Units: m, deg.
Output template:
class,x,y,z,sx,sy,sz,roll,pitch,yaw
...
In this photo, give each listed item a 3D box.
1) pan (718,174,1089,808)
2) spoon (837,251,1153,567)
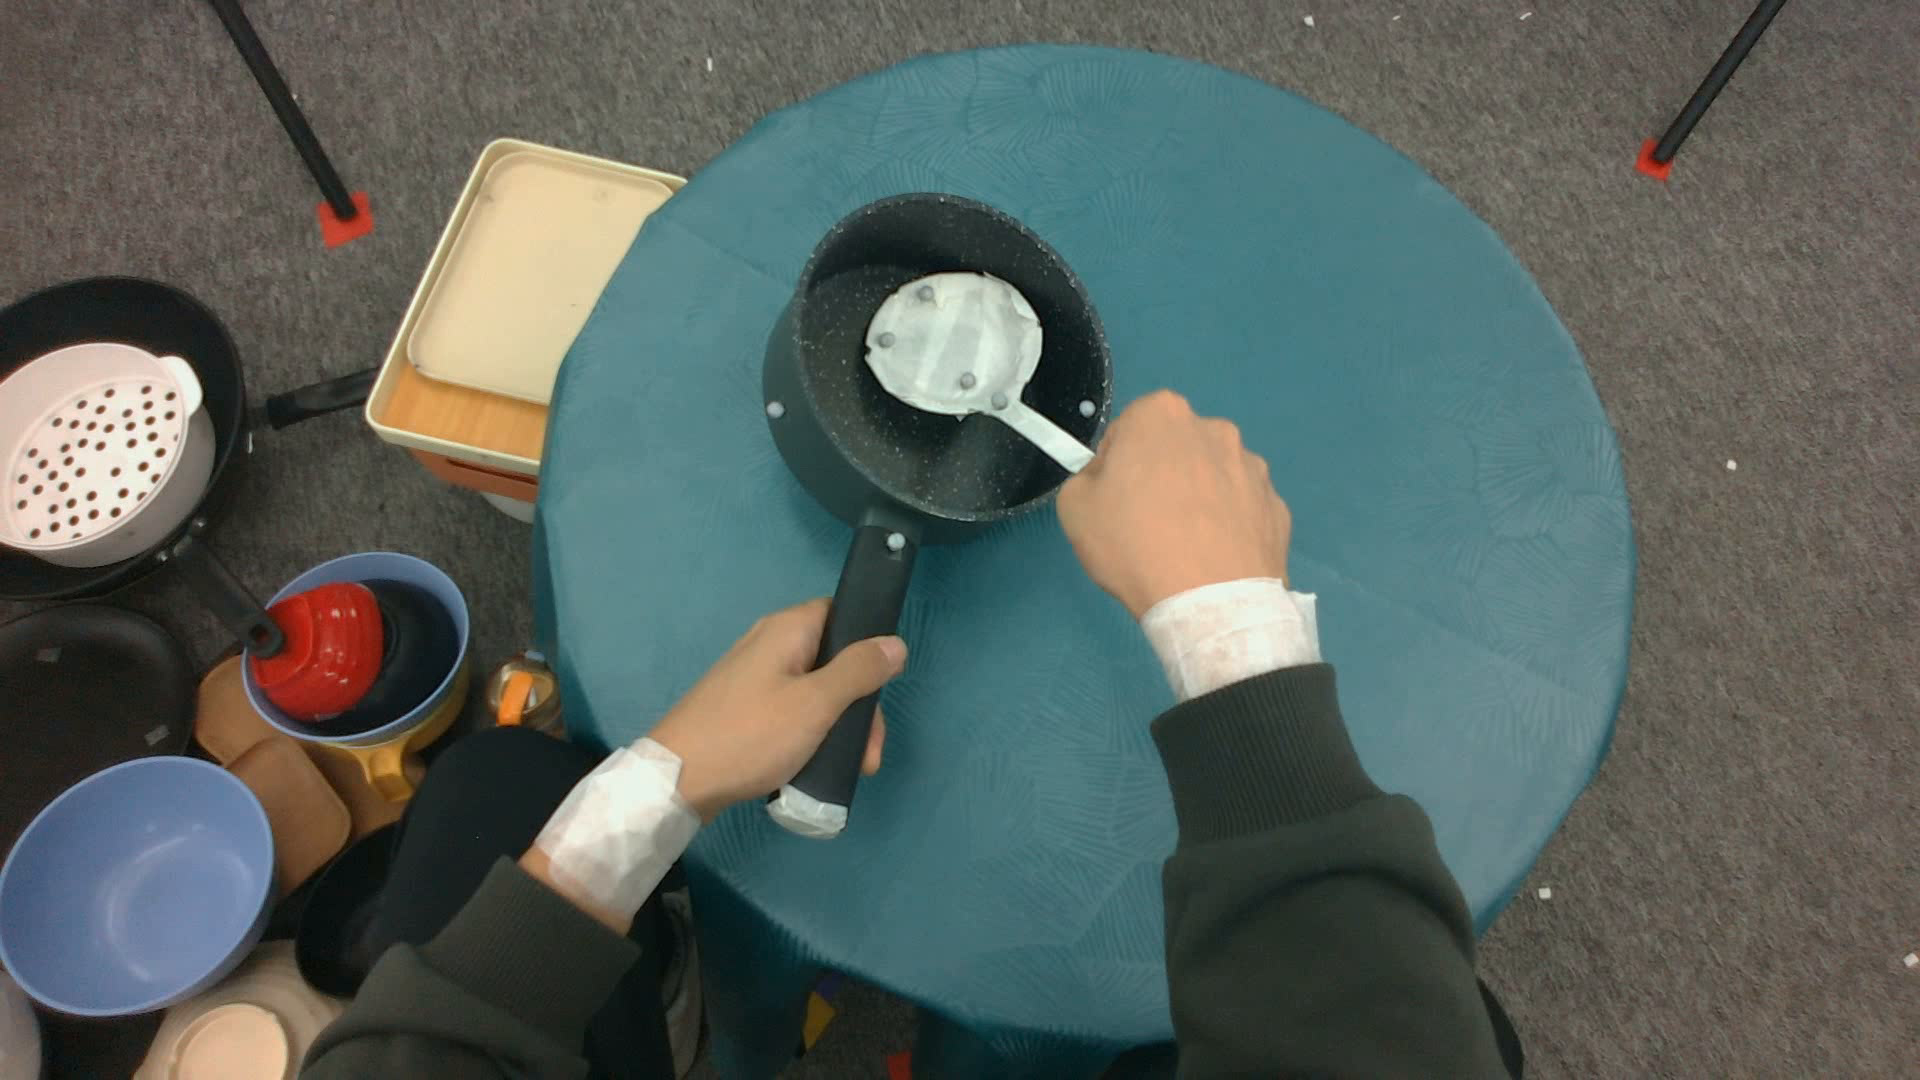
class,x,y,z,sx,sy,sz,roll,pitch,yaw
pan,-0.049,-0.024,0.671,0.172,0.086,0.330,26,64,-15
spoon,0.013,-0.069,0.640,0.101,0.059,0.278,-27,32,-6
